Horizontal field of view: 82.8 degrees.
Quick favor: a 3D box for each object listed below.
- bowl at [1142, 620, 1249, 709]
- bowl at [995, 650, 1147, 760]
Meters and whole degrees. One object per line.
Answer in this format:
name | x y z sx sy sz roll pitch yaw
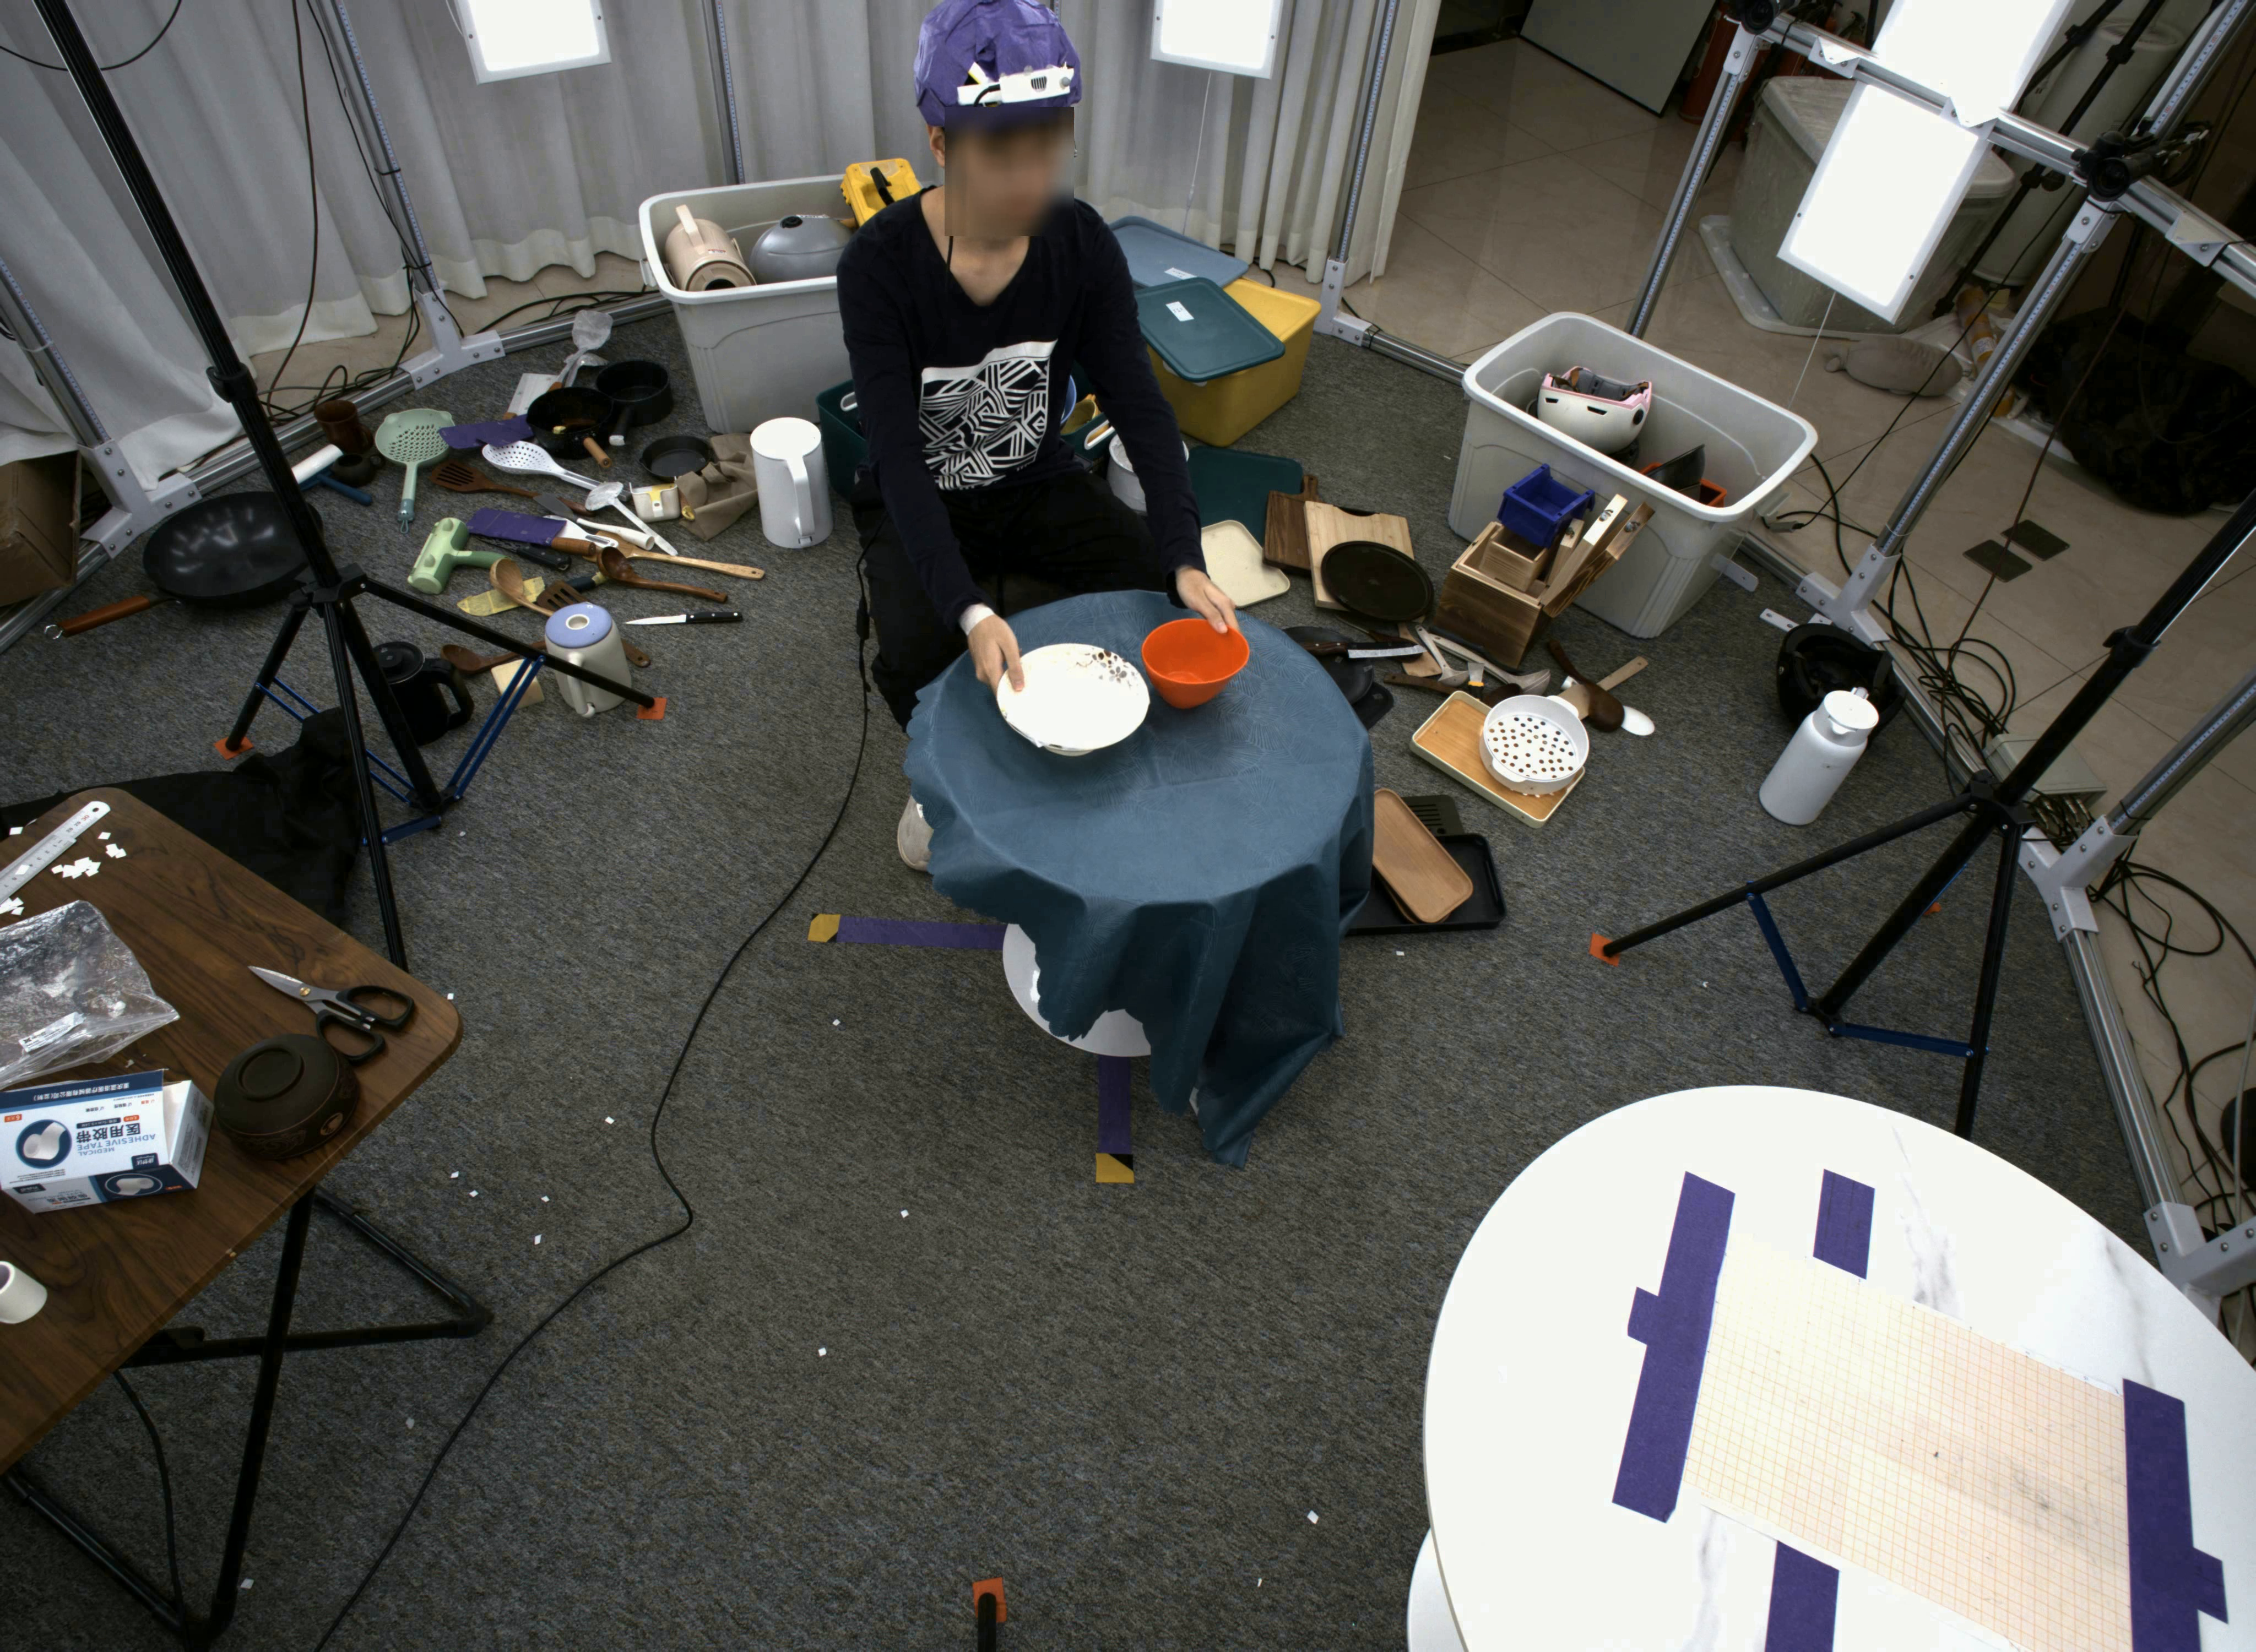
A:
bowl | 0.089 -0.215 1.795 0.148 0.102 0.152 3 50 -3
bowl | -0.078 -0.148 1.745 0.204 0.076 0.209 2 45 -2
